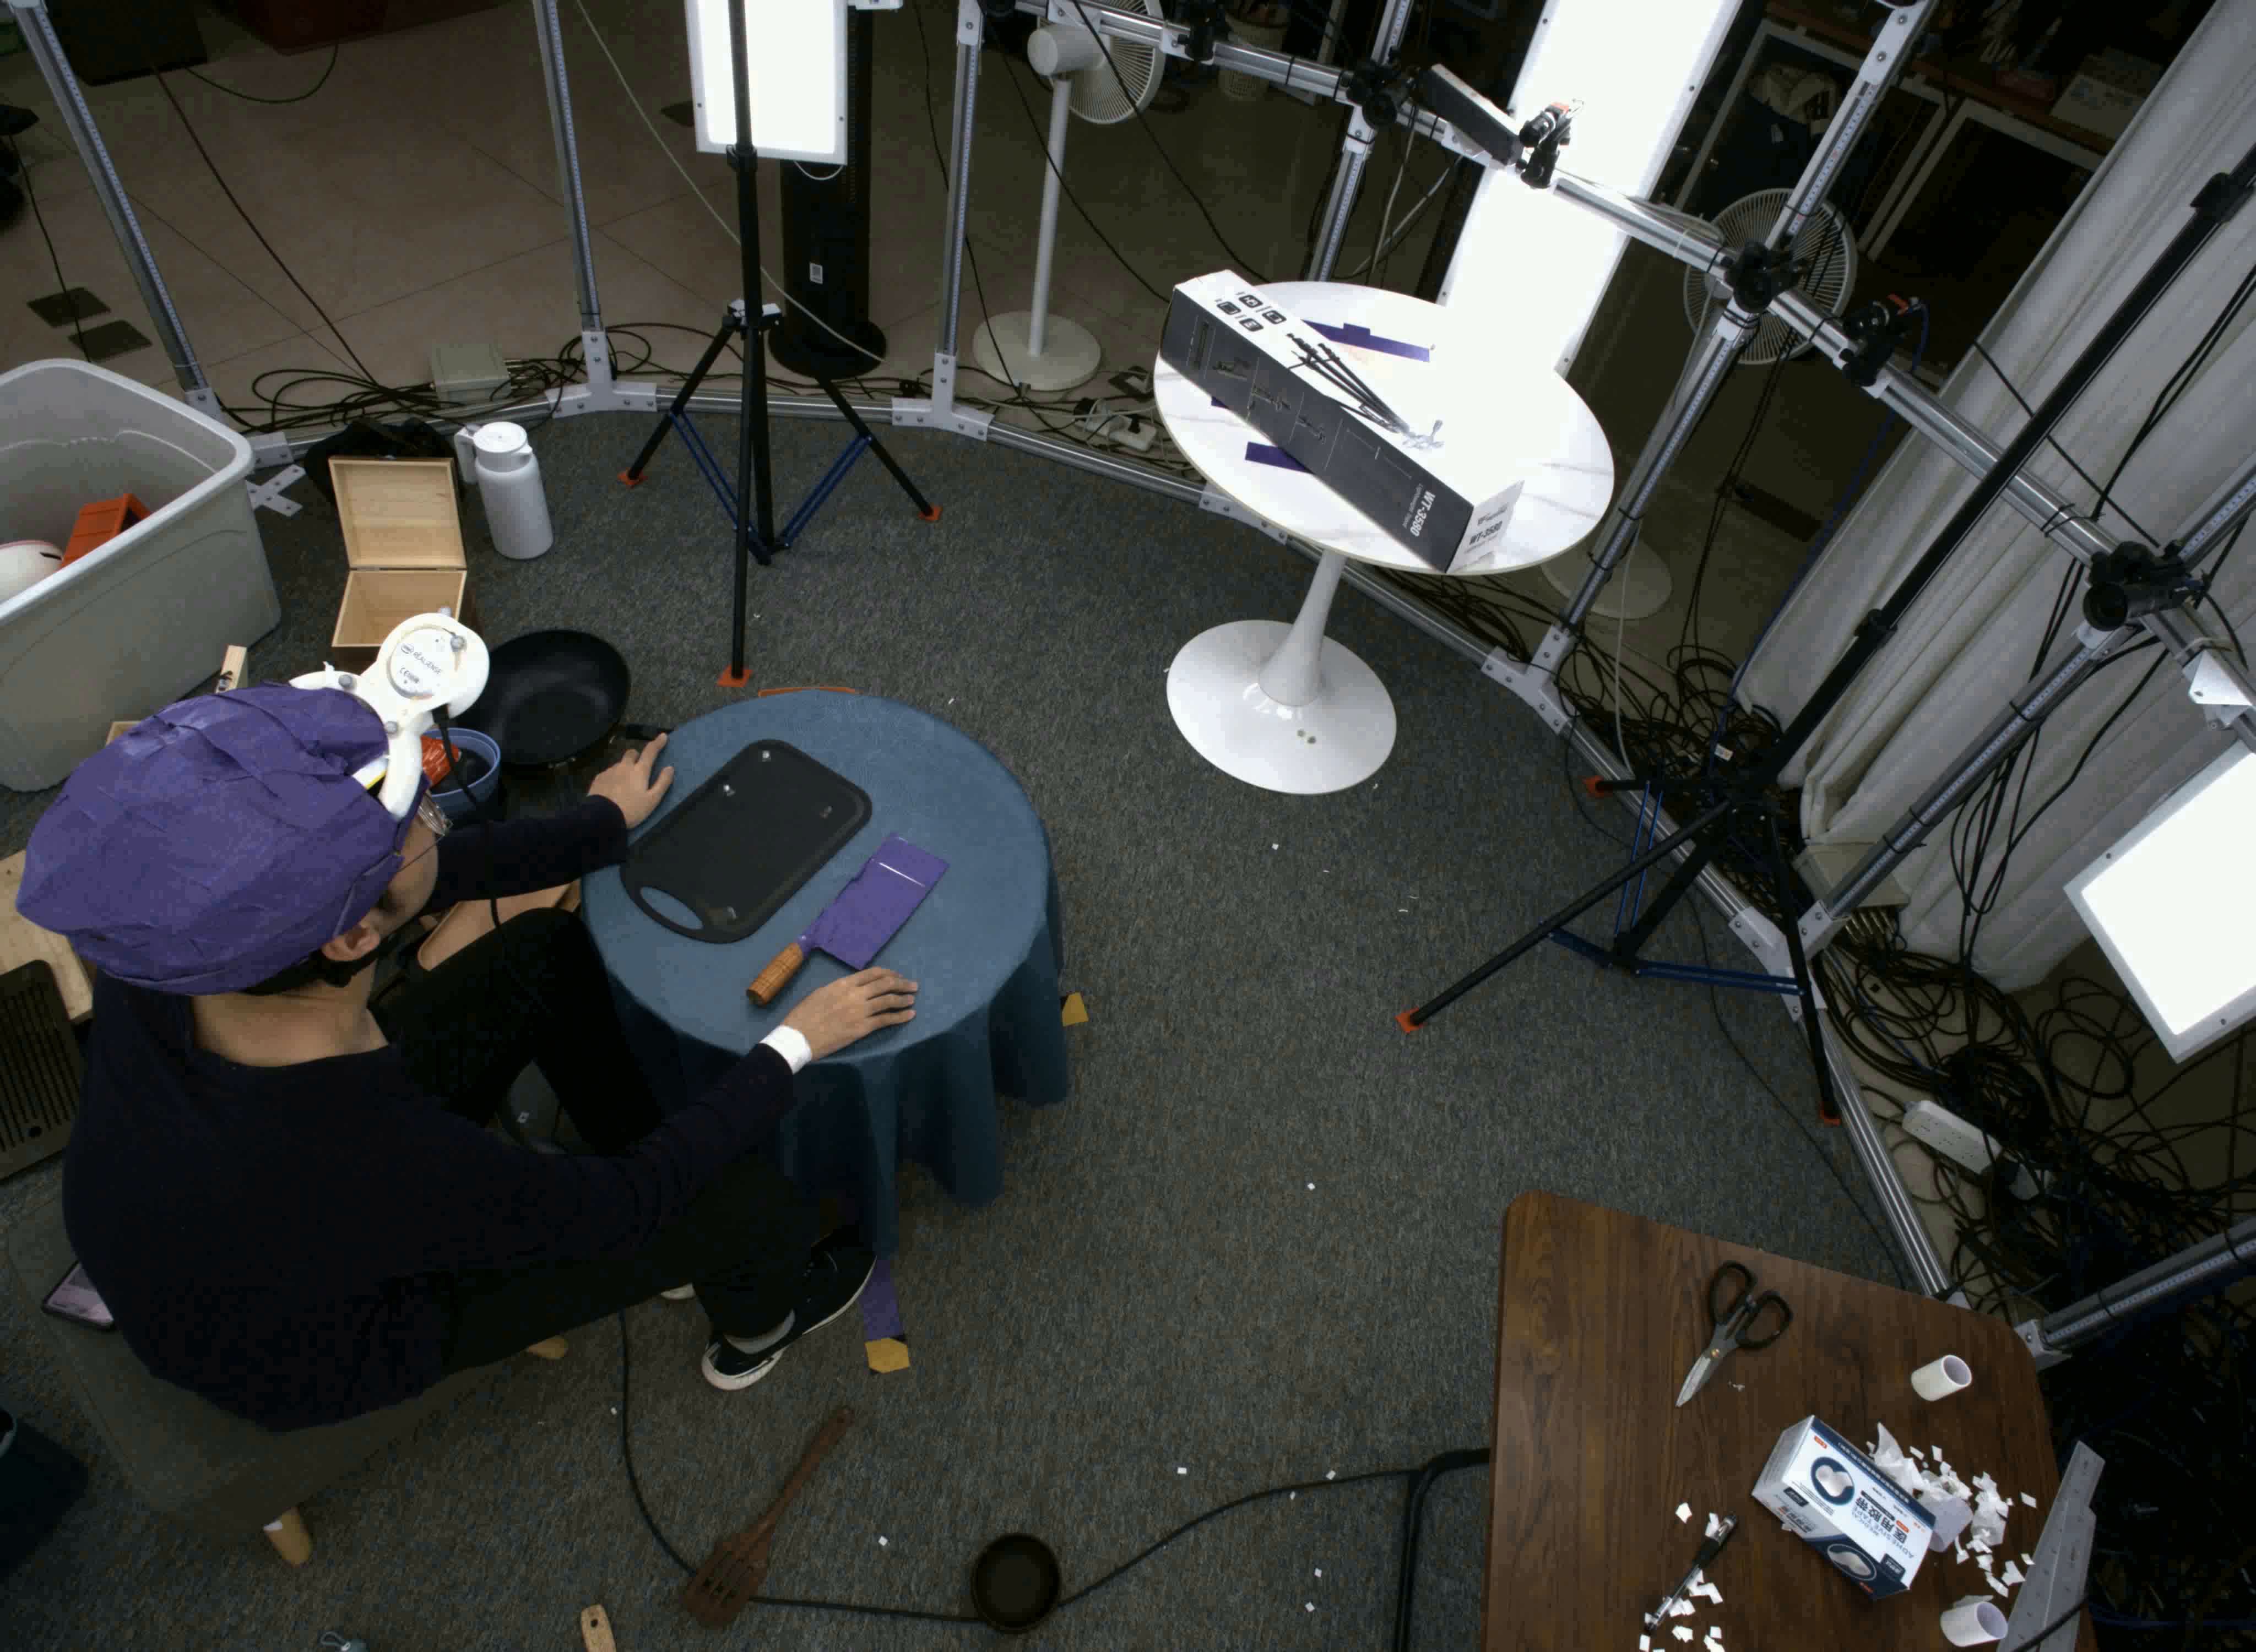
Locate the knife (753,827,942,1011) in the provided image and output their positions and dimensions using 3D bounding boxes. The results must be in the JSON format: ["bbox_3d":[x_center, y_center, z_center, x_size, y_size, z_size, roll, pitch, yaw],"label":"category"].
[{"bbox_3d":[-0.346,0.121,1.648,0.102,0.033,0.313,28,52,8],"label":"knife"}]

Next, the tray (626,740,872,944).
[{"bbox_3d":[-0.500,0.016,1.699,0.207,0.010,0.324,32,53,10],"label":"tray"}]
